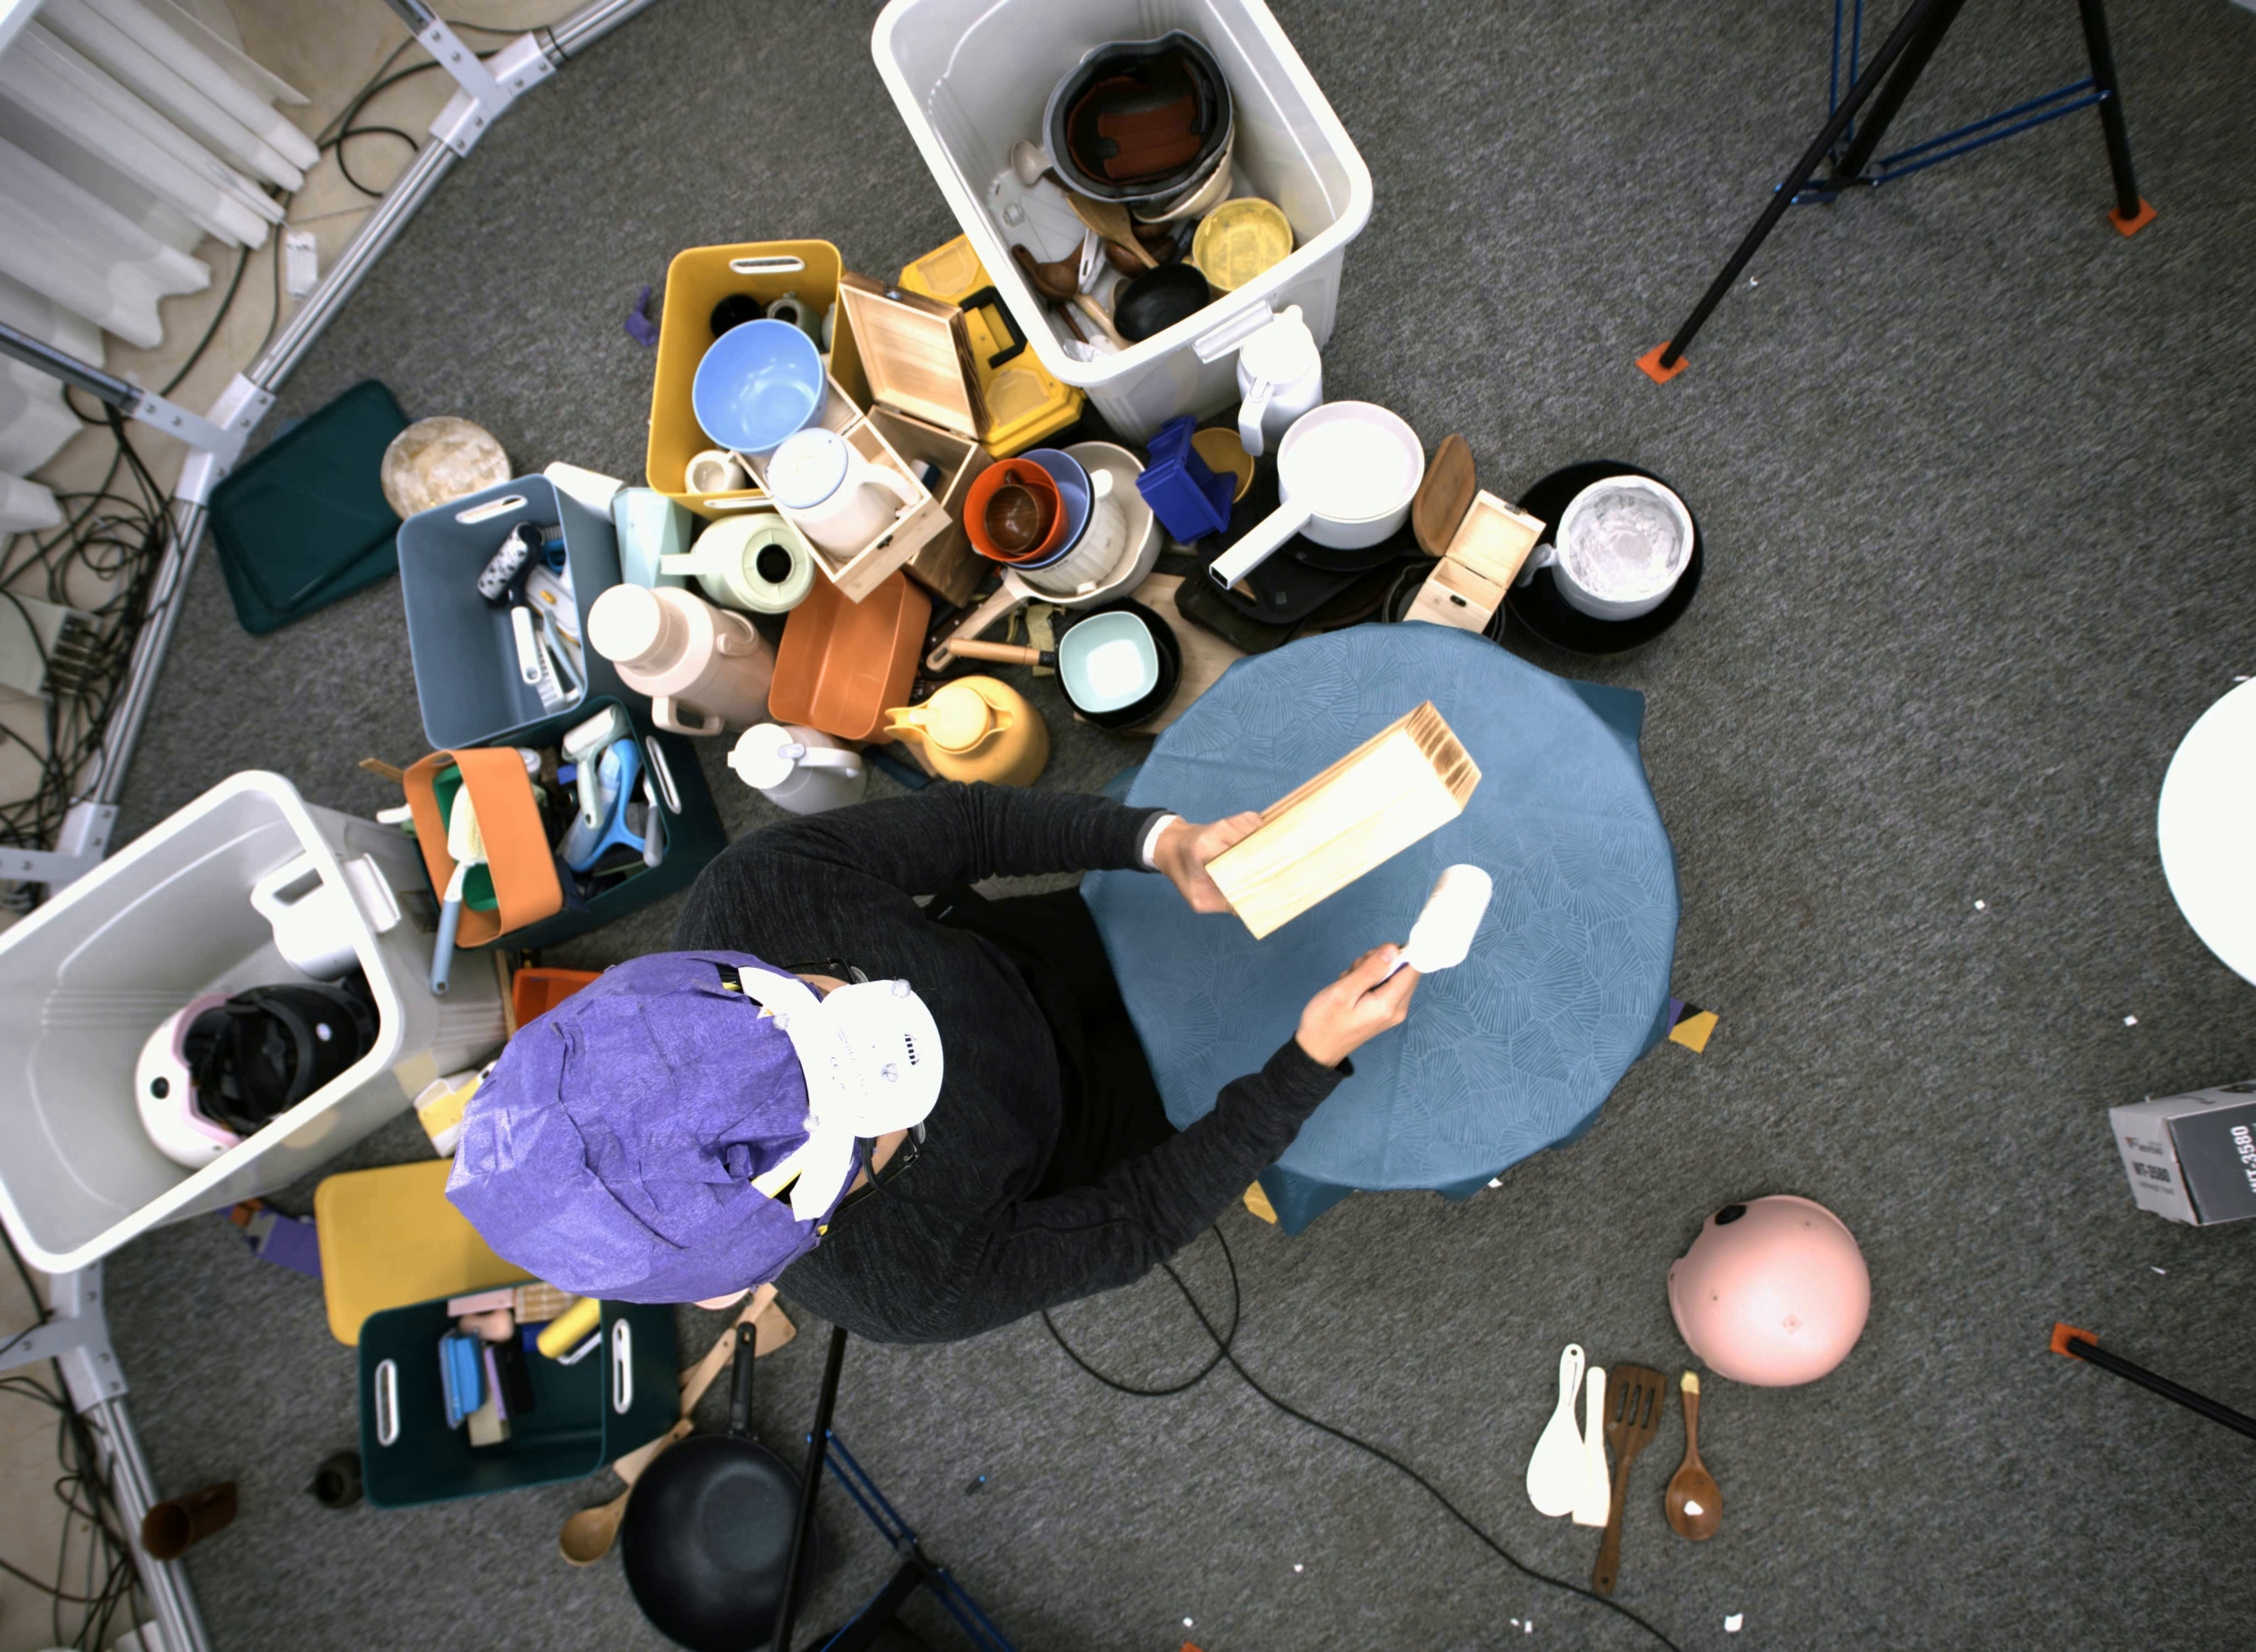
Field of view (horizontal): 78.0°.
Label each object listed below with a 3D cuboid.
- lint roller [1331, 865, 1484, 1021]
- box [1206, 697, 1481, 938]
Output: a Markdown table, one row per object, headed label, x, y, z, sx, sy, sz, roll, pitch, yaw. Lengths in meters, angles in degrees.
| label | x | y | z | sx | sy | sz | roll | pitch | yaw |
| --- | --- | --- | --- | --- | --- | --- | --- | --- | --- |
| lint roller | 0.240 | 0.120 | 1.203 | 0.050 | 0.130 | 0.185 | 34 | 125 | 5 |
| box | 0.181 | -0.008 | 1.158 | 0.215 | 0.105 | 0.080 | -37 | 92 | 30 |
